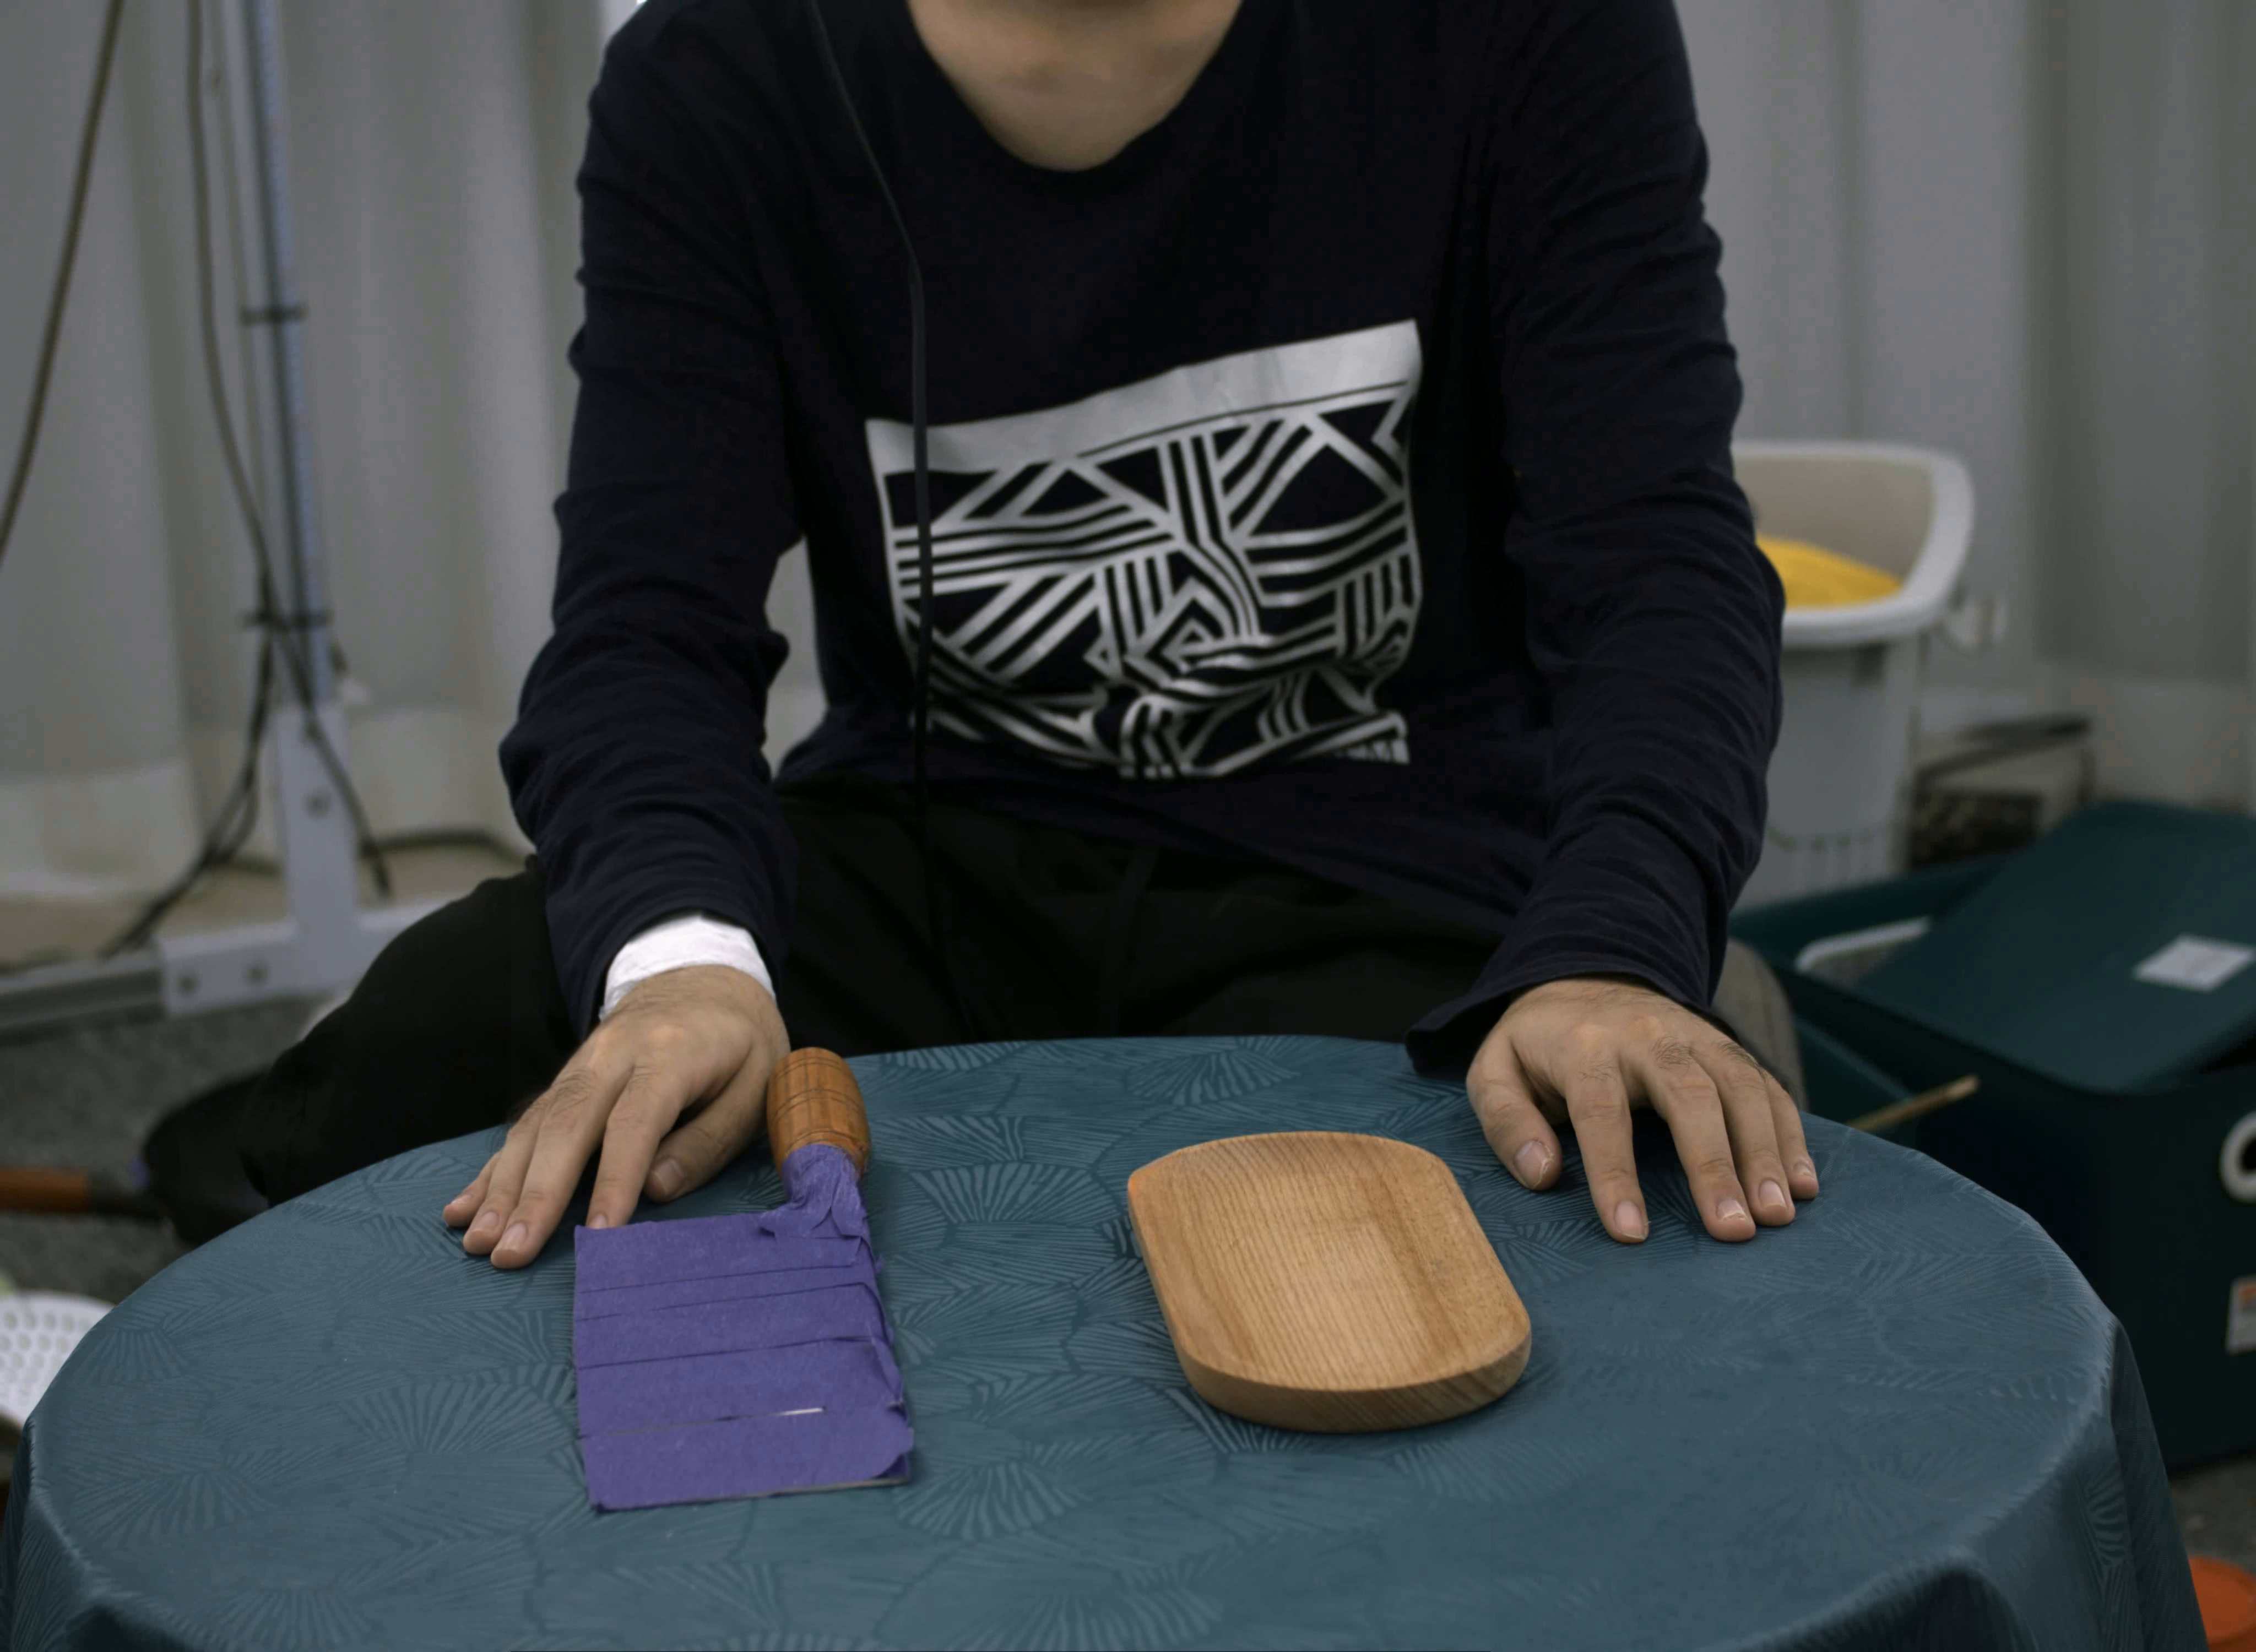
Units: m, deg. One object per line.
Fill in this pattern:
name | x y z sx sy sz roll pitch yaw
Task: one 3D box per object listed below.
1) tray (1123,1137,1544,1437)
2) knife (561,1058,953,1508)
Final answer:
tray | 0.058 0.133 1.606 0.101 0.020 0.233 -5 16 -7
knife | -0.118 0.131 1.624 0.103 0.032 0.317 -4 15 -6
